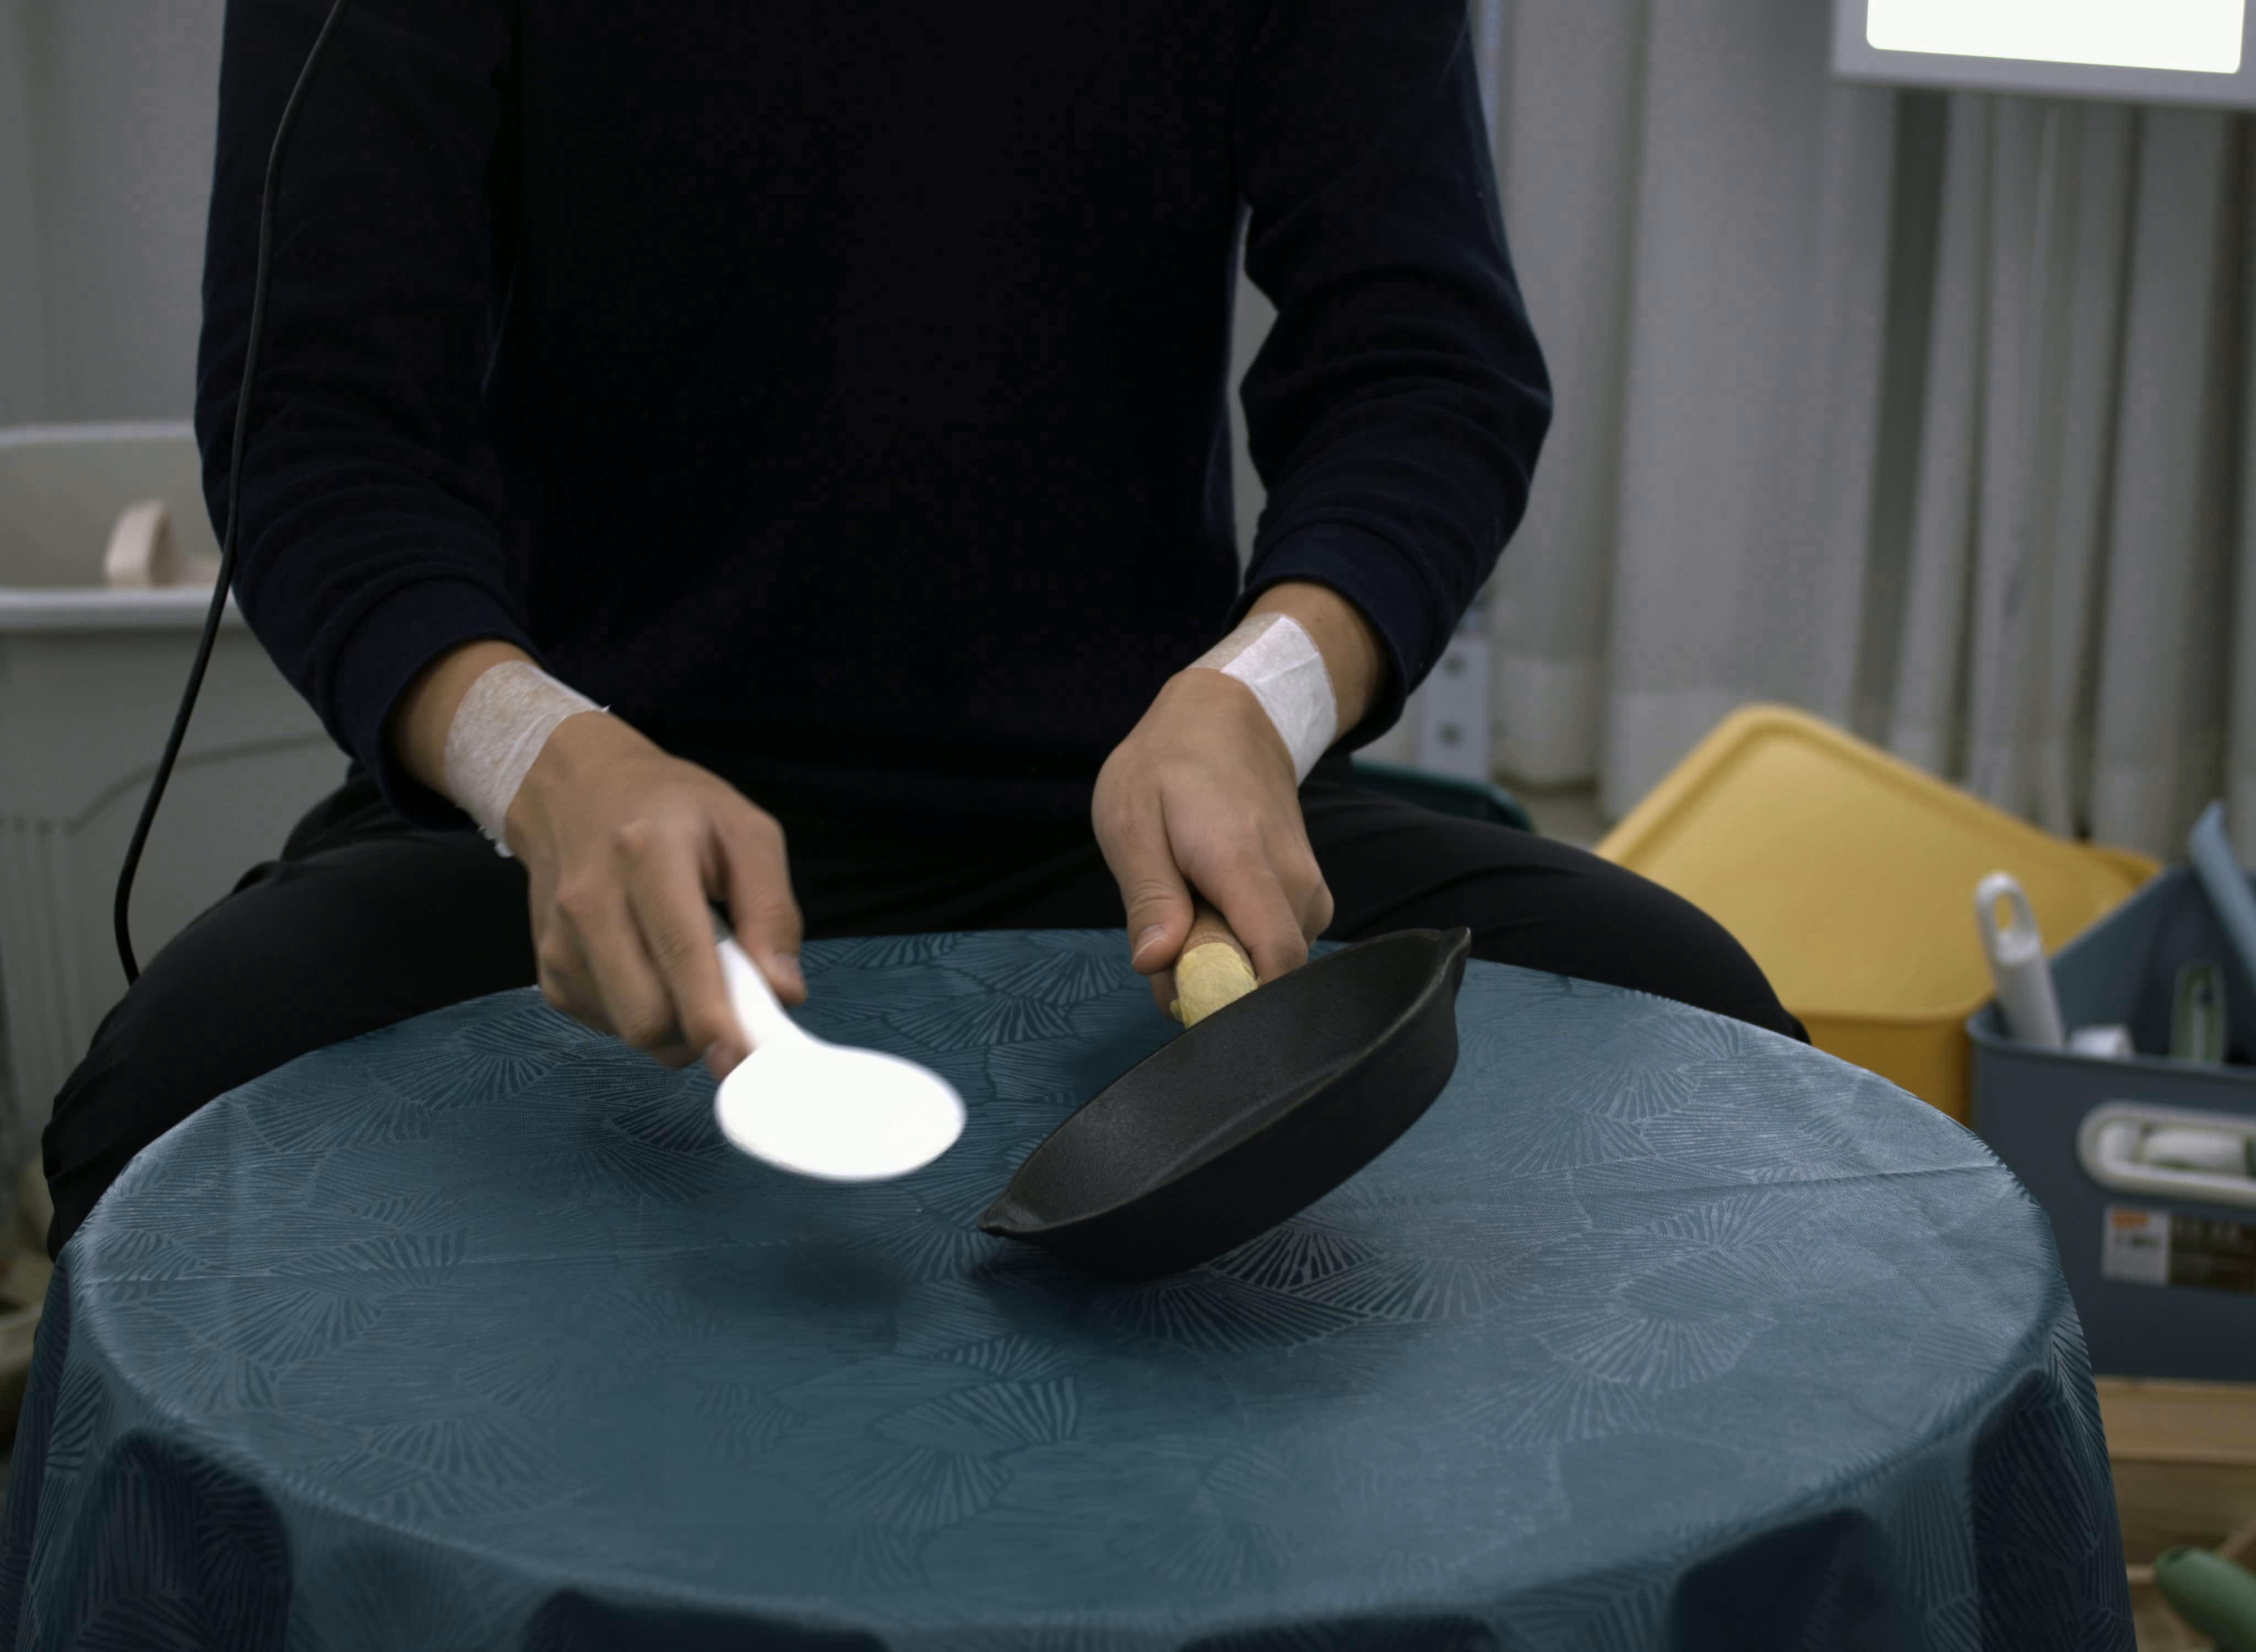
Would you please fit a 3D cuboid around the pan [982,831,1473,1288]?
[{"bbox_3d":[0.033,0.061,1.628,0.168,0.050,0.322,-30,12,7],"label":"pan"}]

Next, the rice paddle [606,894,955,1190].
[{"bbox_3d":[-0.110,0.067,1.587,0.069,0.030,0.202,-11,23,-21],"label":"rice paddle"}]
